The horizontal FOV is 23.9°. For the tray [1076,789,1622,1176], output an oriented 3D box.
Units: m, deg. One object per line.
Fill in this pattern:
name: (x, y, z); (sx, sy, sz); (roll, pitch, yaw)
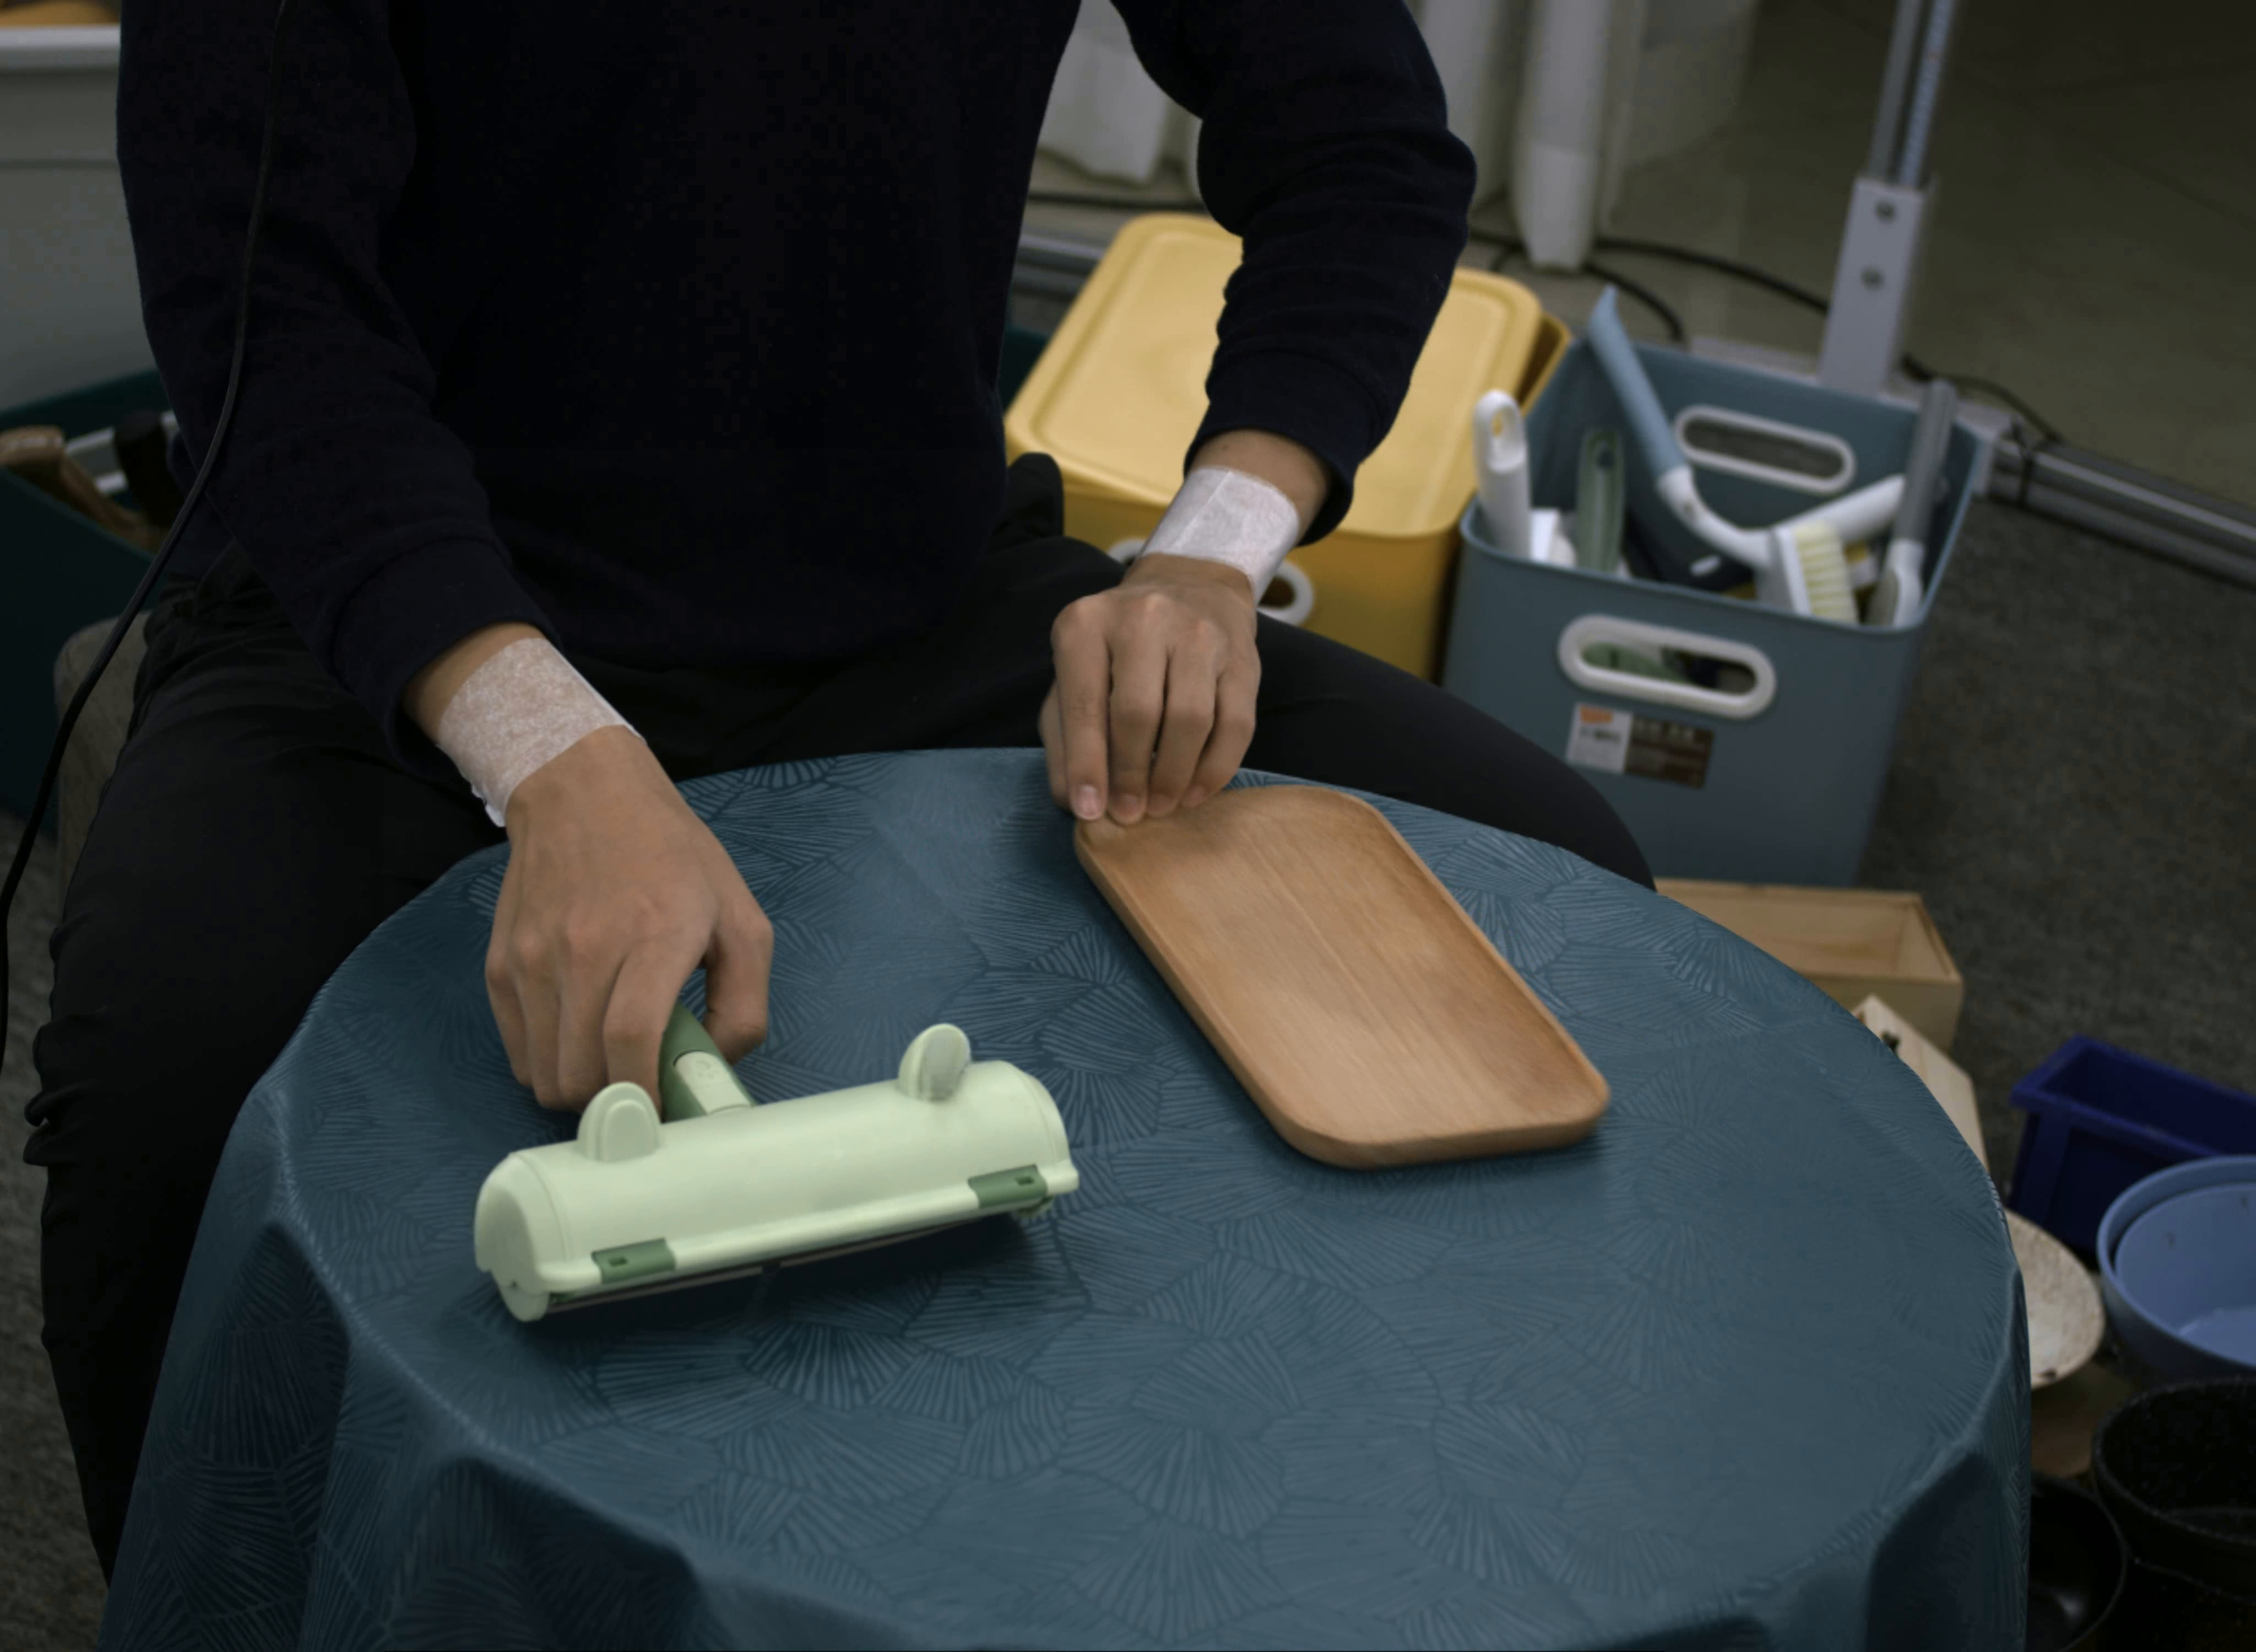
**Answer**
tray: (0.076, 0.054, 1.934); (0.129, 0.023, 0.253); (-3, 28, -22)

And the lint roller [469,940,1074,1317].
lint roller: (-0.140, 0.076, 1.755); (0.197, 0.082, 0.185); (-9, 43, -30)
